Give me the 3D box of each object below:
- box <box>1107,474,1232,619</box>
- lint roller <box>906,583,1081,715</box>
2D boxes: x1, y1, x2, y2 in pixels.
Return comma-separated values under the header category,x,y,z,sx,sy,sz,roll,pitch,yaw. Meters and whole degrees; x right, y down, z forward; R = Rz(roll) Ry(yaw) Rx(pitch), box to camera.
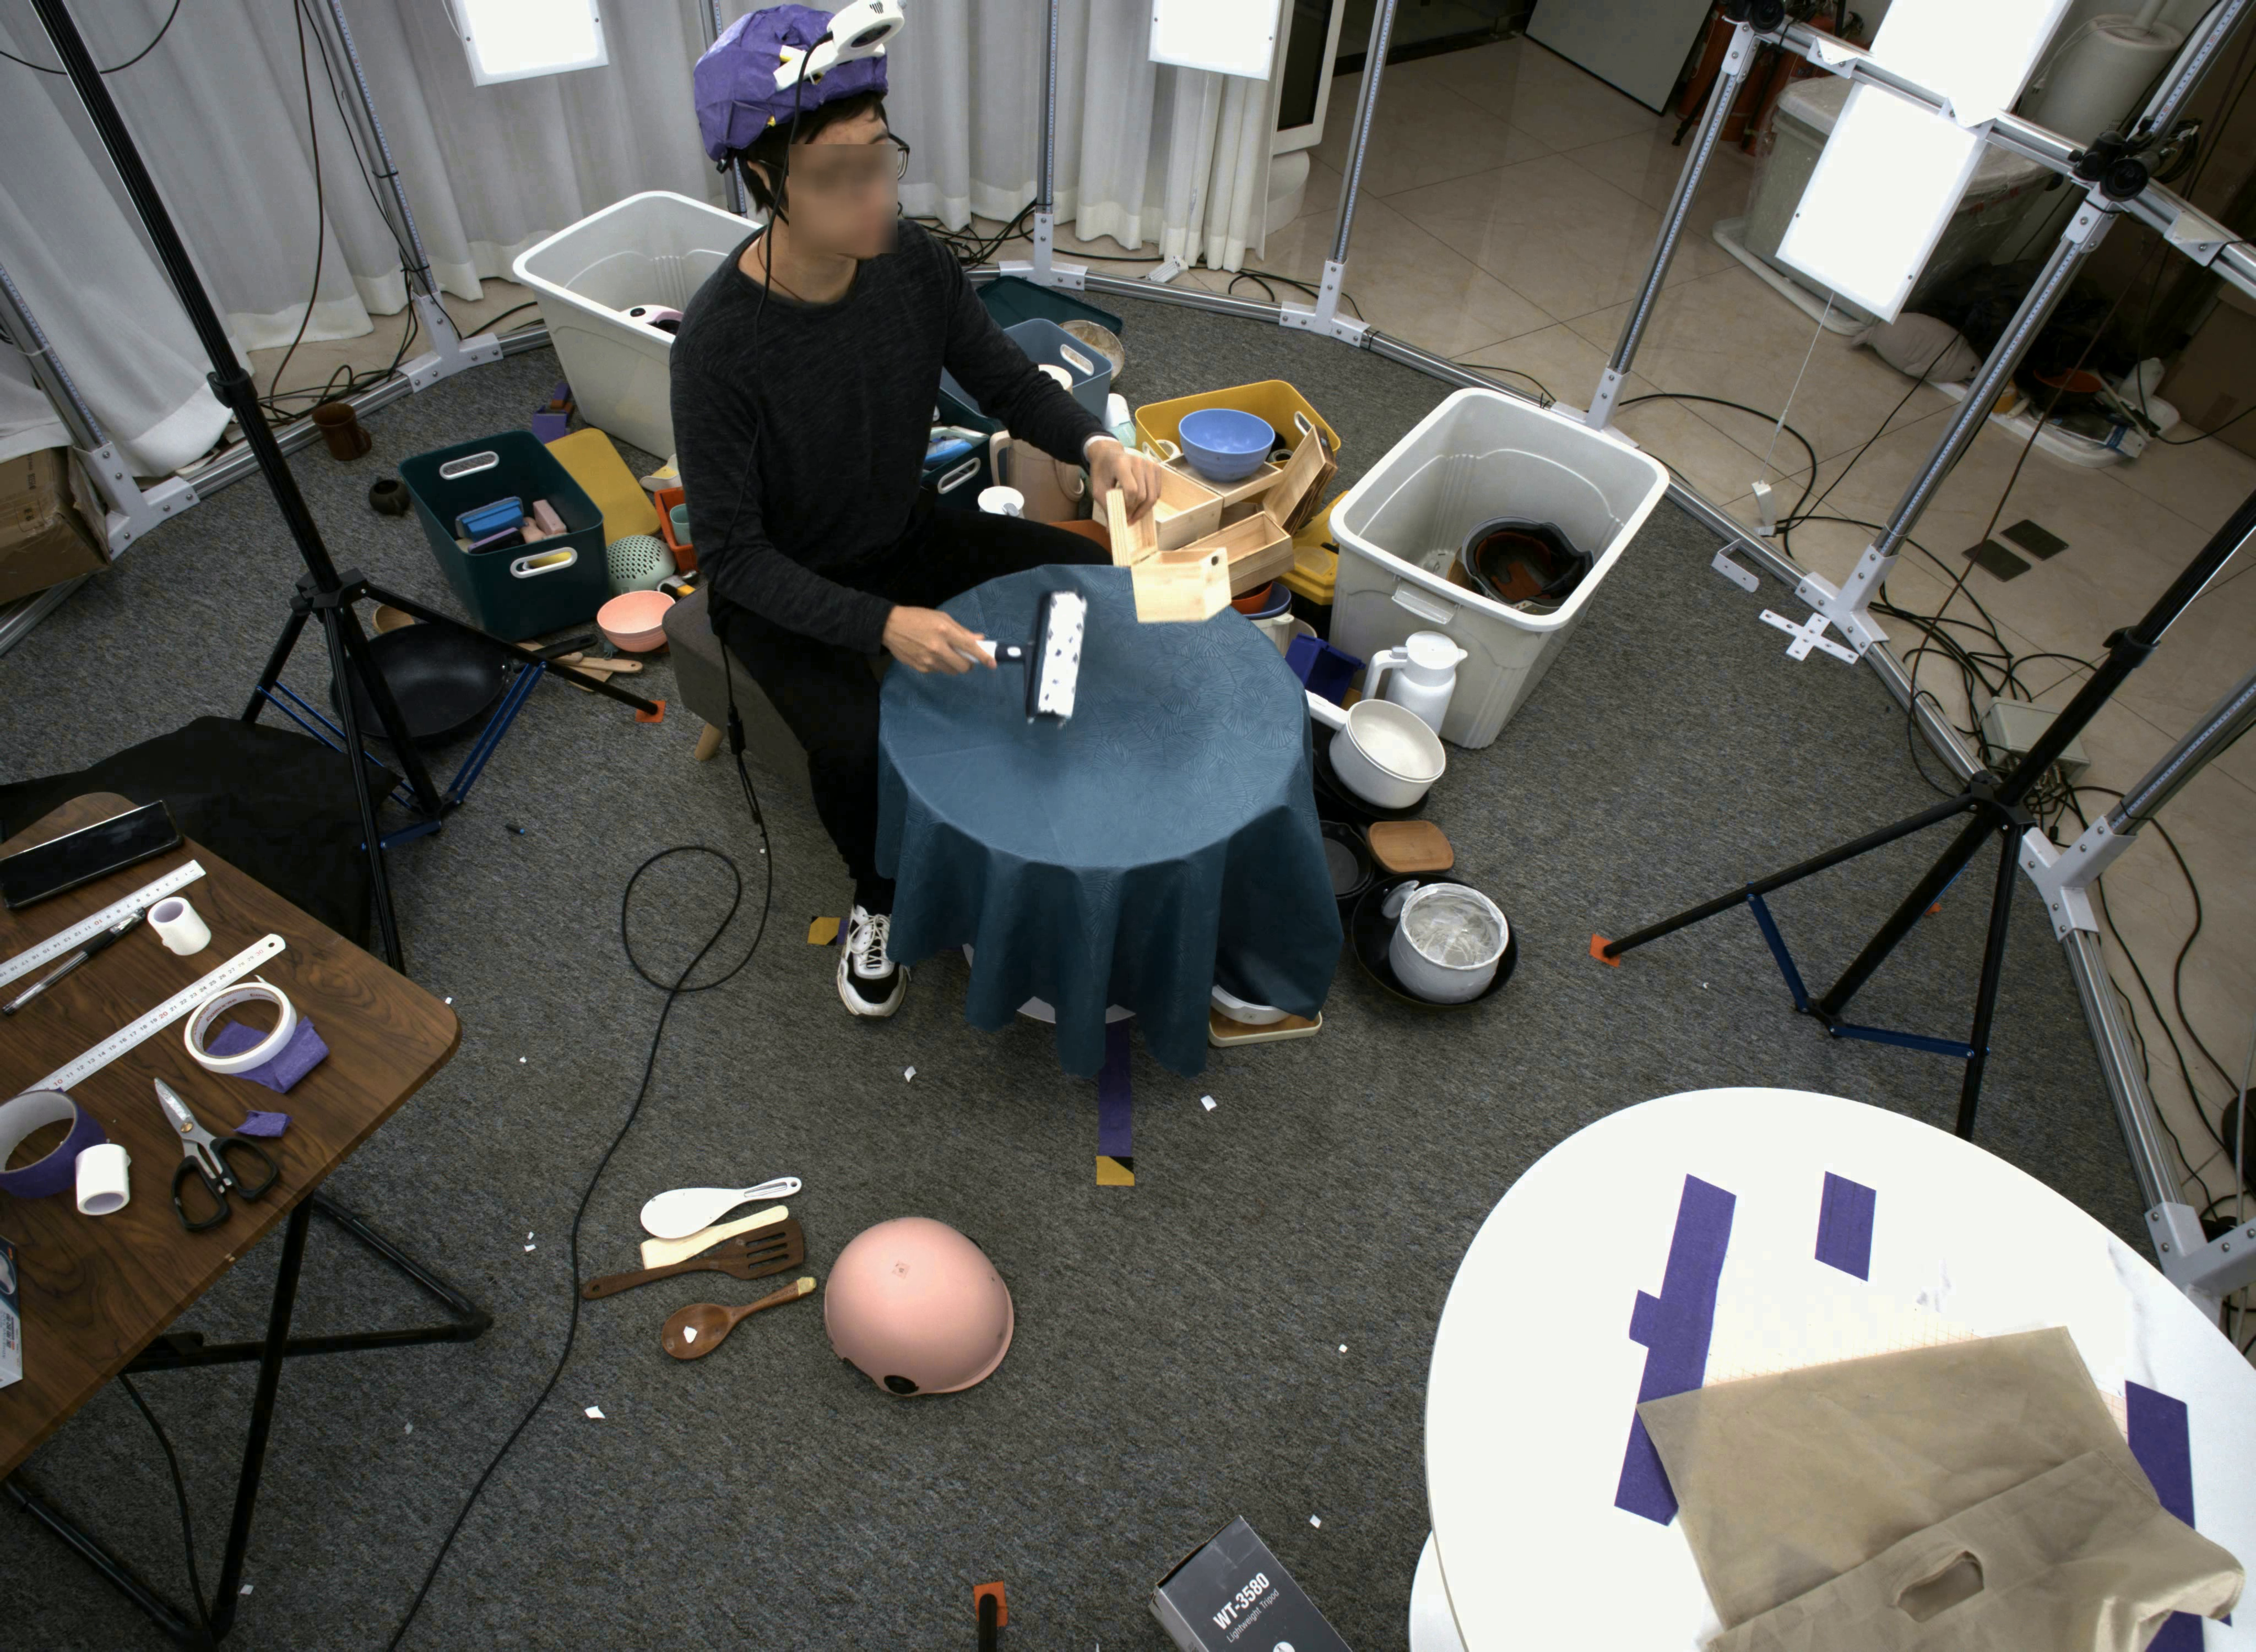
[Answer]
category,x,y,z,sx,sy,sz,roll,pitch,yaw
box,0.060,-0.382,1.742,0.134,0.182,0.103,2,20,26
lint roller,-0.188,-0.242,1.746,0.247,0.050,0.177,2,83,14
